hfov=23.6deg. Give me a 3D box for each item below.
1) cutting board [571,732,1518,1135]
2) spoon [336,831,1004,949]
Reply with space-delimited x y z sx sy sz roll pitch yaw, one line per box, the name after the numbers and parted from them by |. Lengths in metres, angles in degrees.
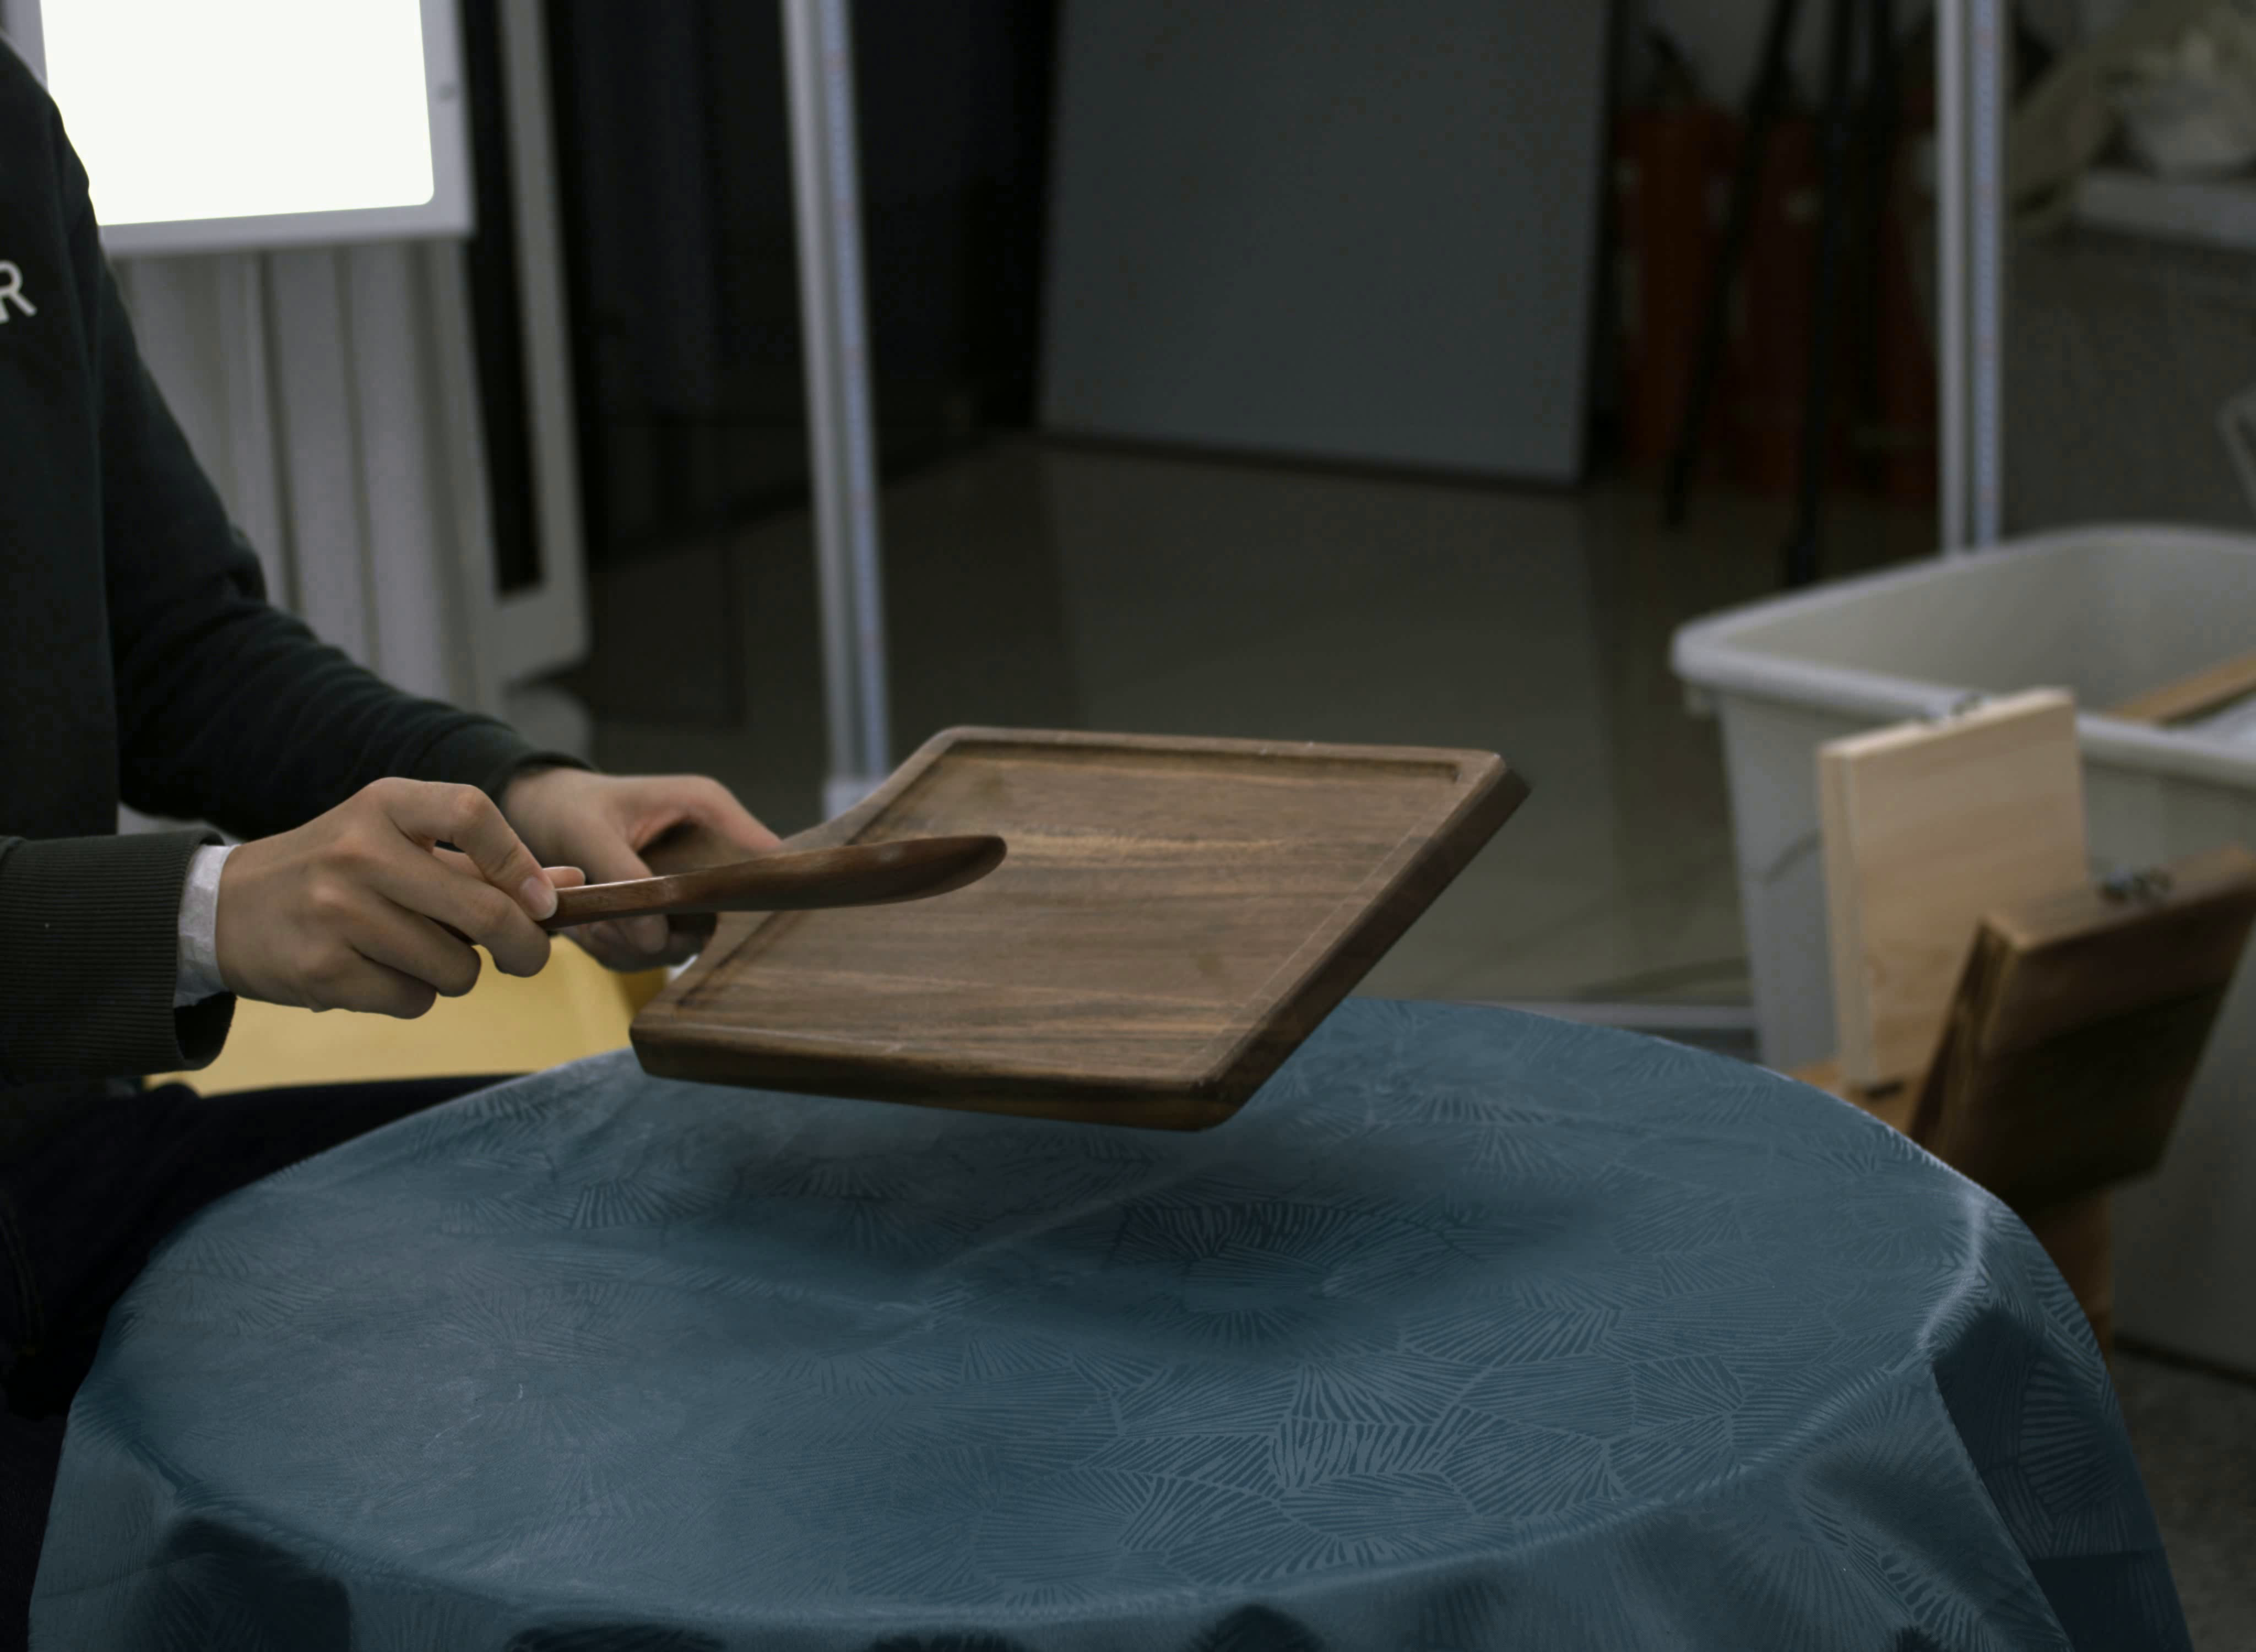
-0.057 0.029 1.812 0.355 0.023 0.199 2 35 40 | cutting board
-0.139 0.020 1.630 0.215 0.017 0.074 -6 -2 18 | spoon
